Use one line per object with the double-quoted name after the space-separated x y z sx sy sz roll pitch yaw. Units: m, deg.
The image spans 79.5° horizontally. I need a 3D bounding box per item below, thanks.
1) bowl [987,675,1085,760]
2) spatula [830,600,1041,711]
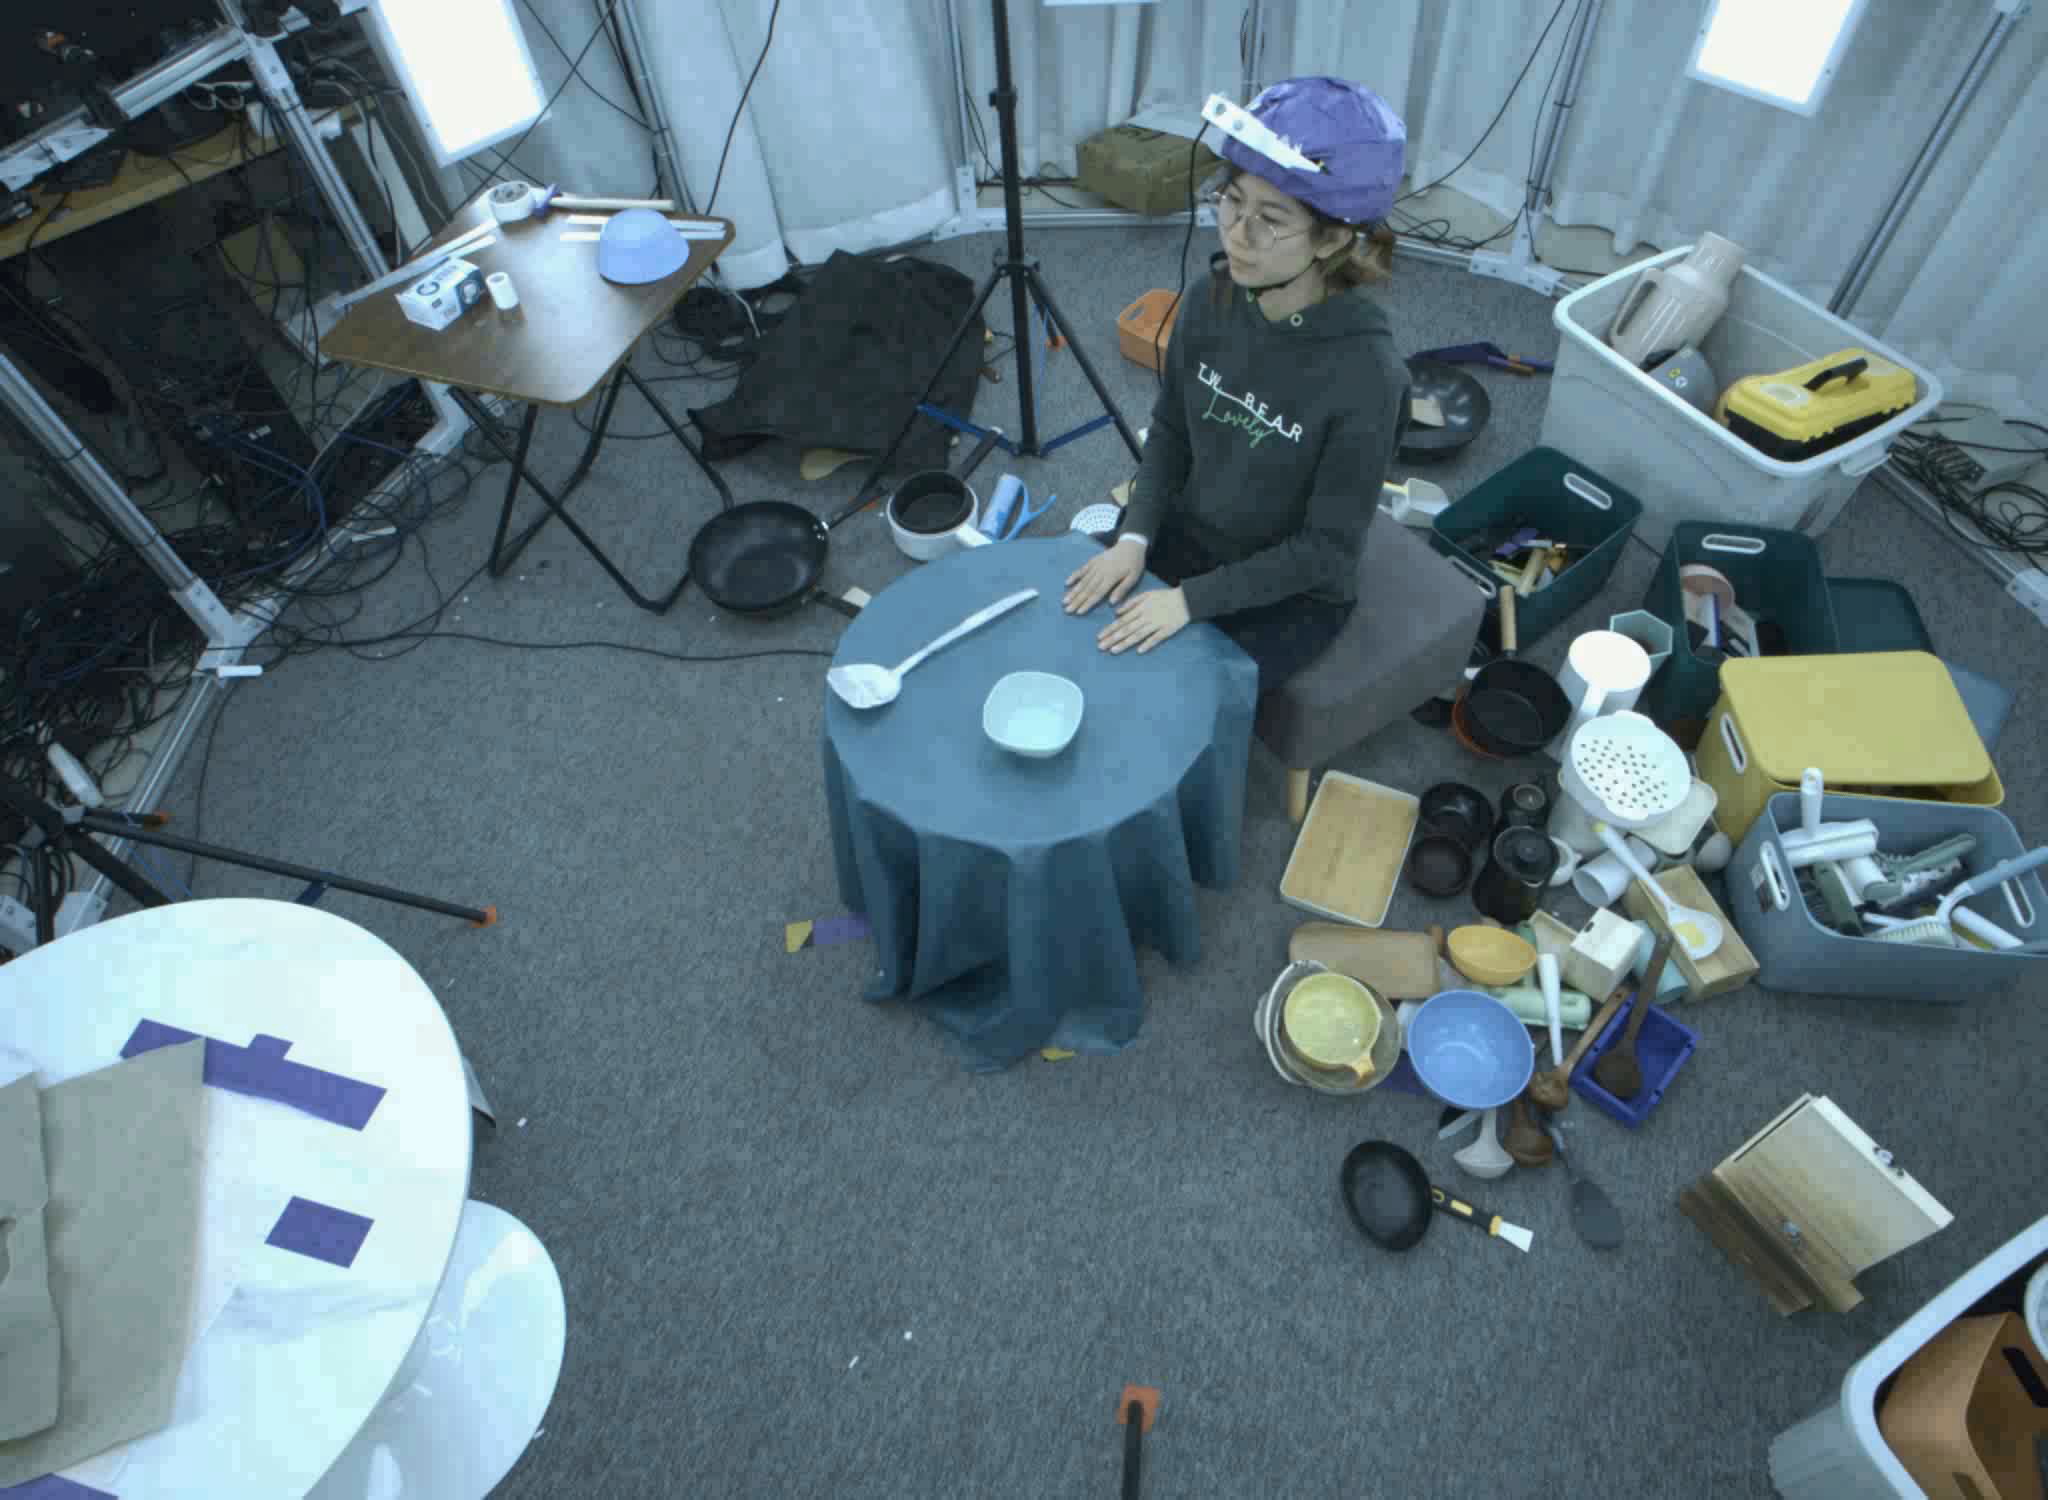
0.019 -0.036 1.789 0.151 0.059 0.150 -1 57 3 "bowl"
-0.128 -0.160 1.890 0.368 0.045 0.097 -32 58 -19 "spatula"
